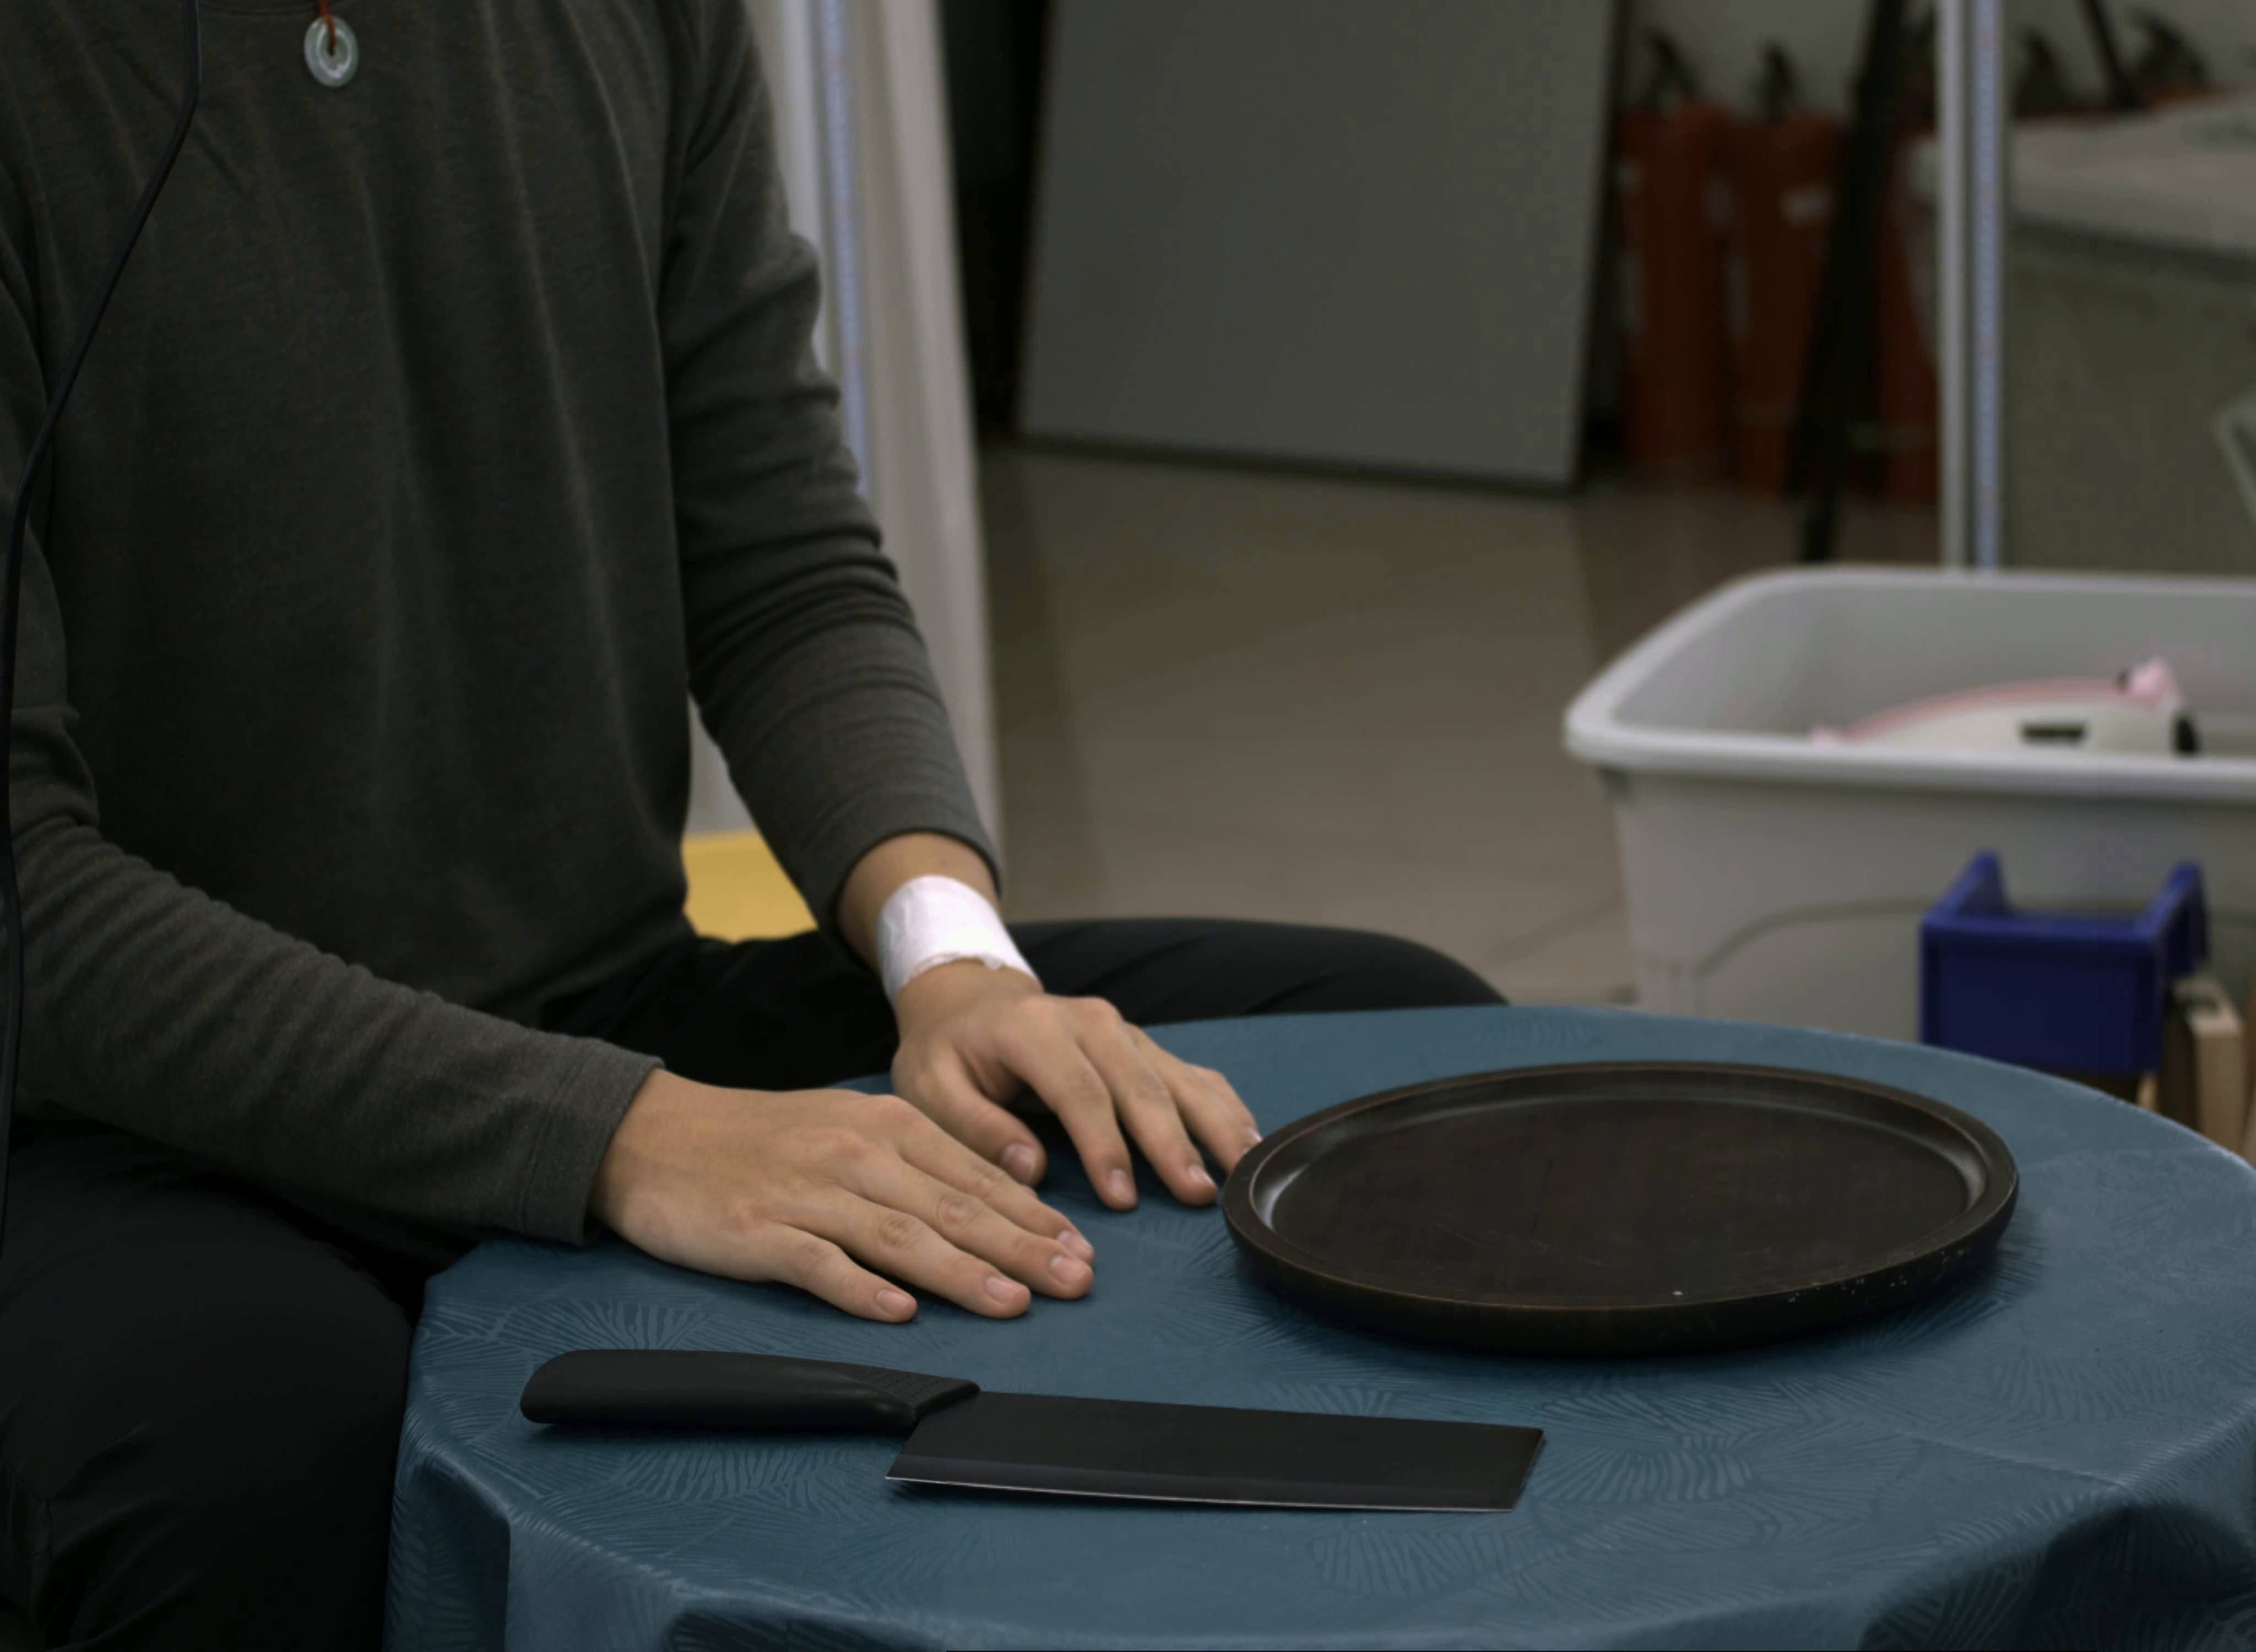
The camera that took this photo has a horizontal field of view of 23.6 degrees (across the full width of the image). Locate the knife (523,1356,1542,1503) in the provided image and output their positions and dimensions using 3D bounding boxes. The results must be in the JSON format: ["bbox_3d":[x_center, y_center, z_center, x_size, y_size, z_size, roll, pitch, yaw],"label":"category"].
[{"bbox_3d":[-0.031,0.174,1.538,0.301,0.021,0.080,2,16,19],"label":"knife"}]

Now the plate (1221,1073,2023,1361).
[{"bbox_3d":[0.154,0.119,1.688,0.251,0.029,0.255,-4,14,0],"label":"plate"}]
